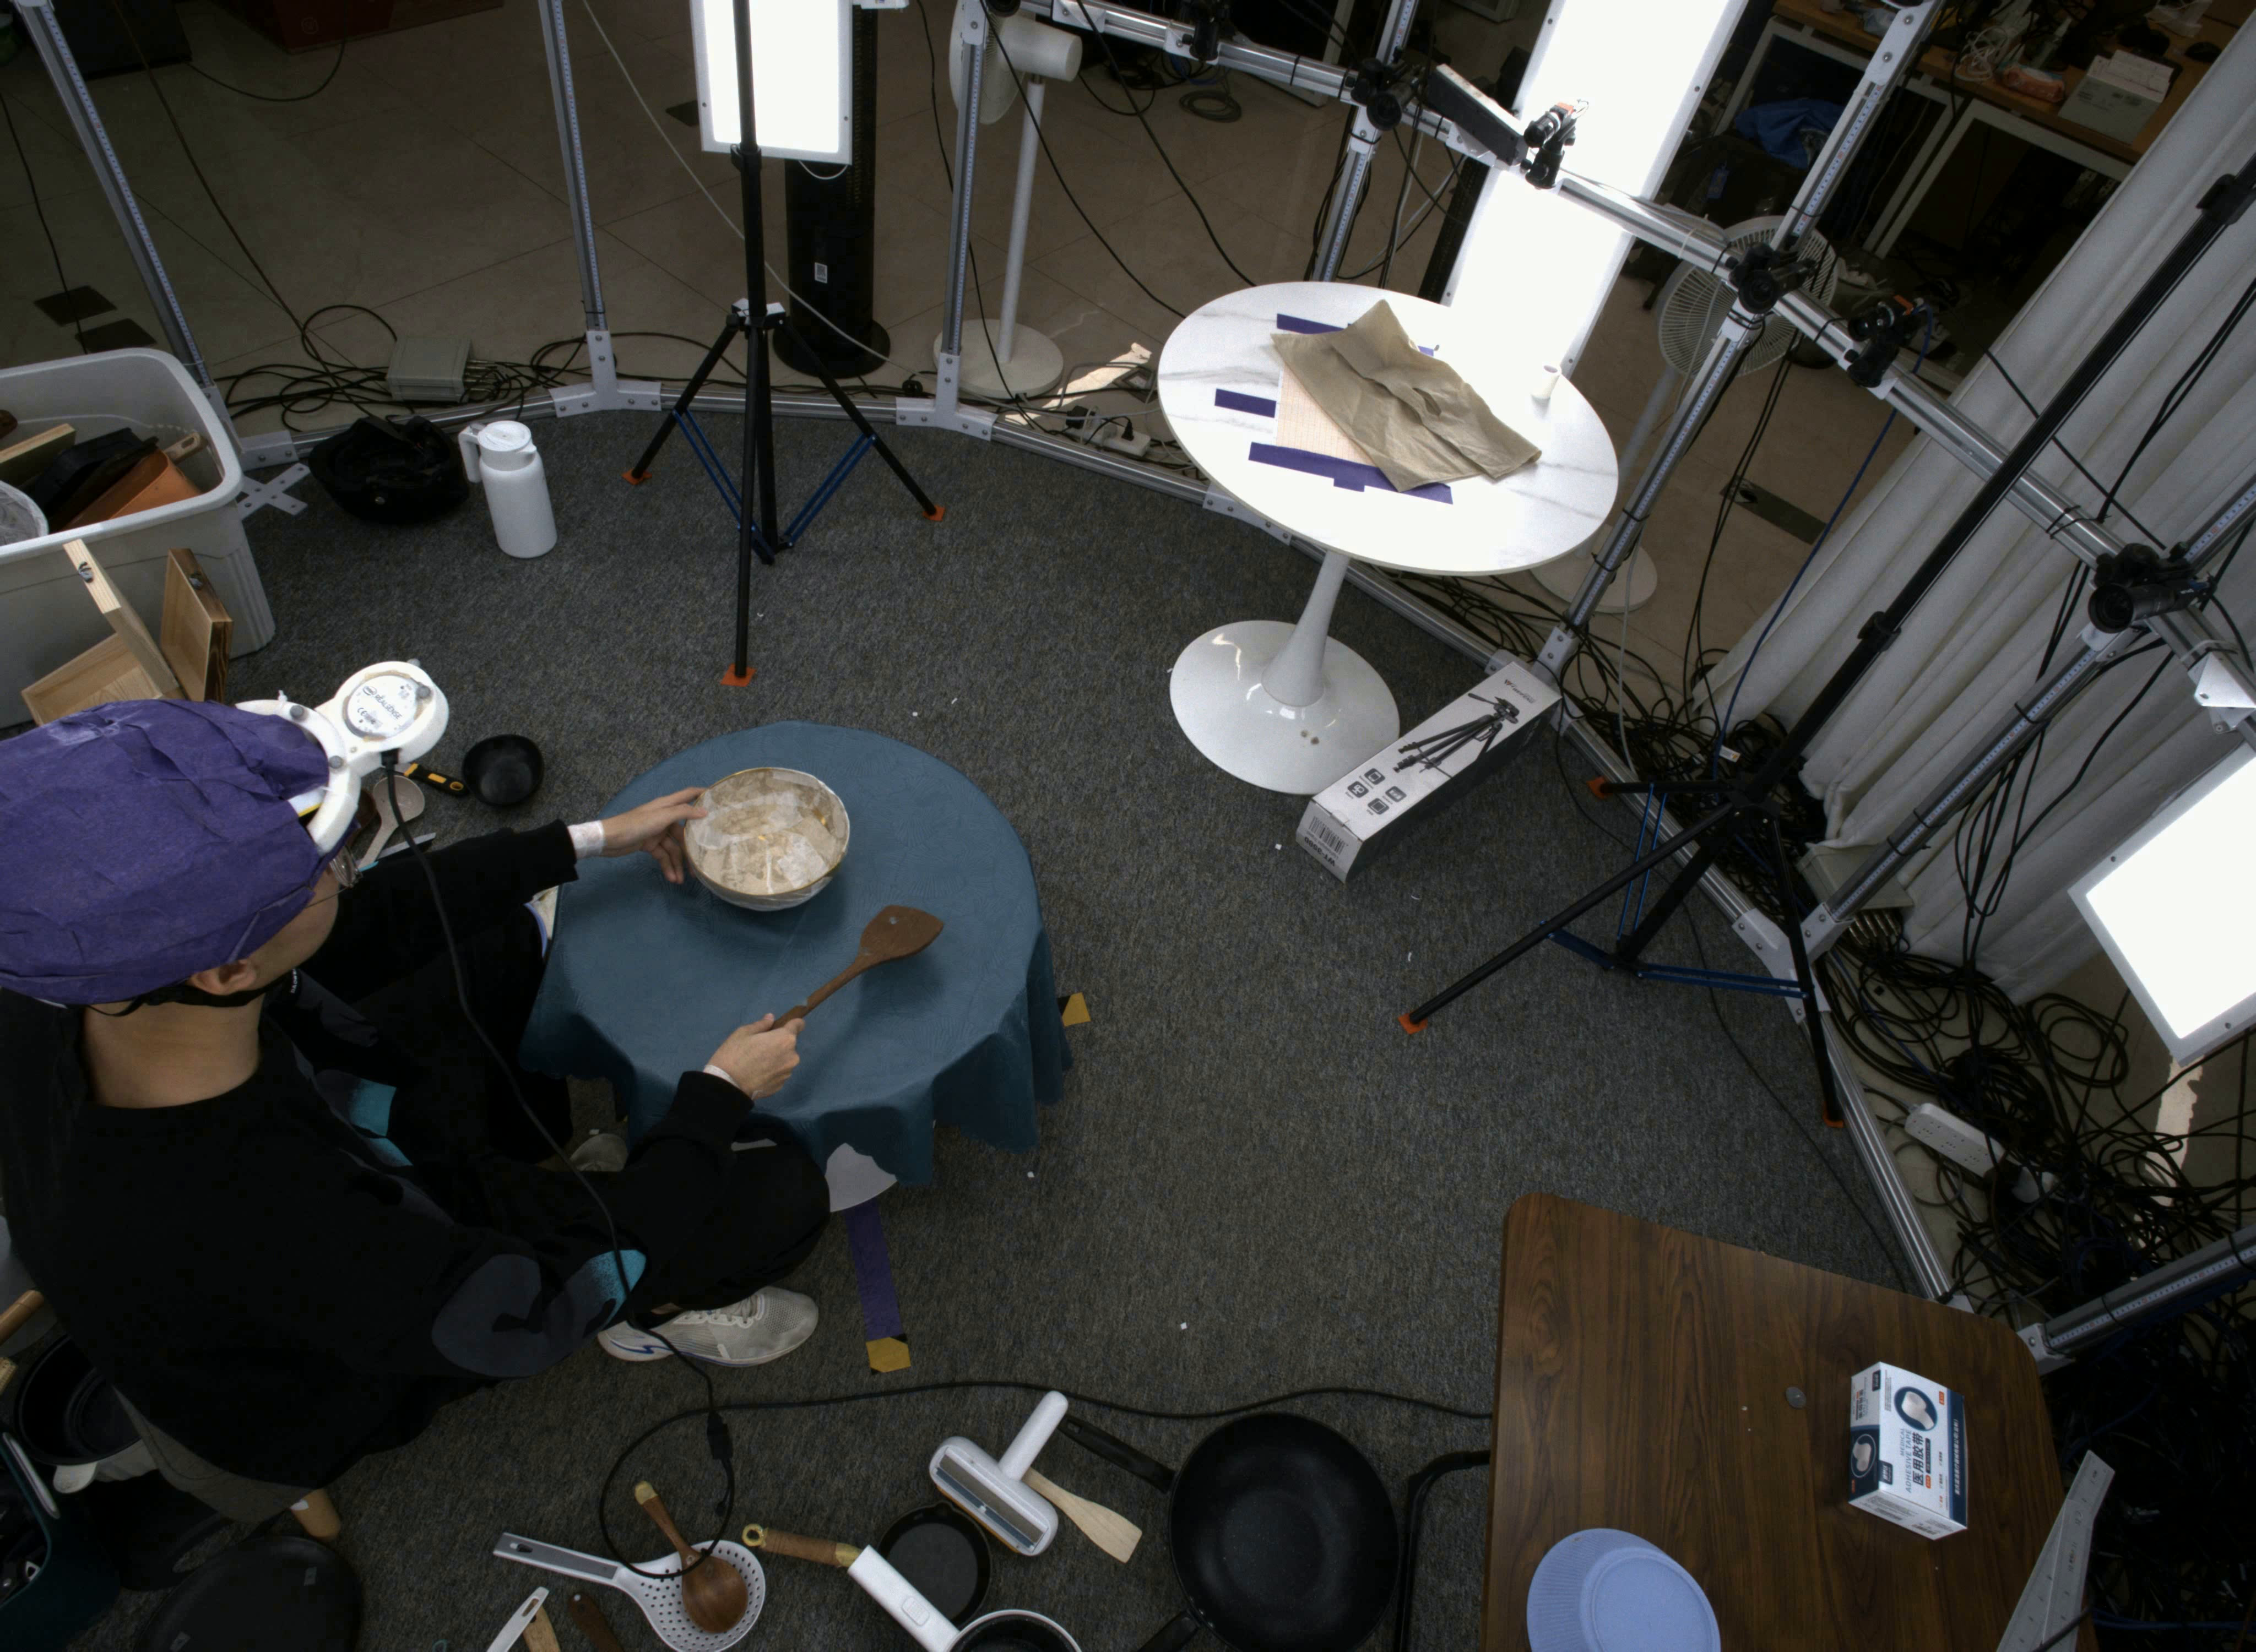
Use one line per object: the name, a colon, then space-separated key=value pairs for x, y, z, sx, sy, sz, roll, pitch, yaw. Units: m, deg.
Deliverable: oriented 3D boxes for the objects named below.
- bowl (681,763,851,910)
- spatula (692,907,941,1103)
bowl: x=-0.458 y=0.027 z=1.639 sx=0.214 sy=0.096 sz=0.211 roll=8 pitch=54 yaw=-9
spatula: x=-0.358 y=0.196 z=1.494 sx=0.093 sy=0.016 sz=0.386 roll=16 pitch=35 yaw=26
